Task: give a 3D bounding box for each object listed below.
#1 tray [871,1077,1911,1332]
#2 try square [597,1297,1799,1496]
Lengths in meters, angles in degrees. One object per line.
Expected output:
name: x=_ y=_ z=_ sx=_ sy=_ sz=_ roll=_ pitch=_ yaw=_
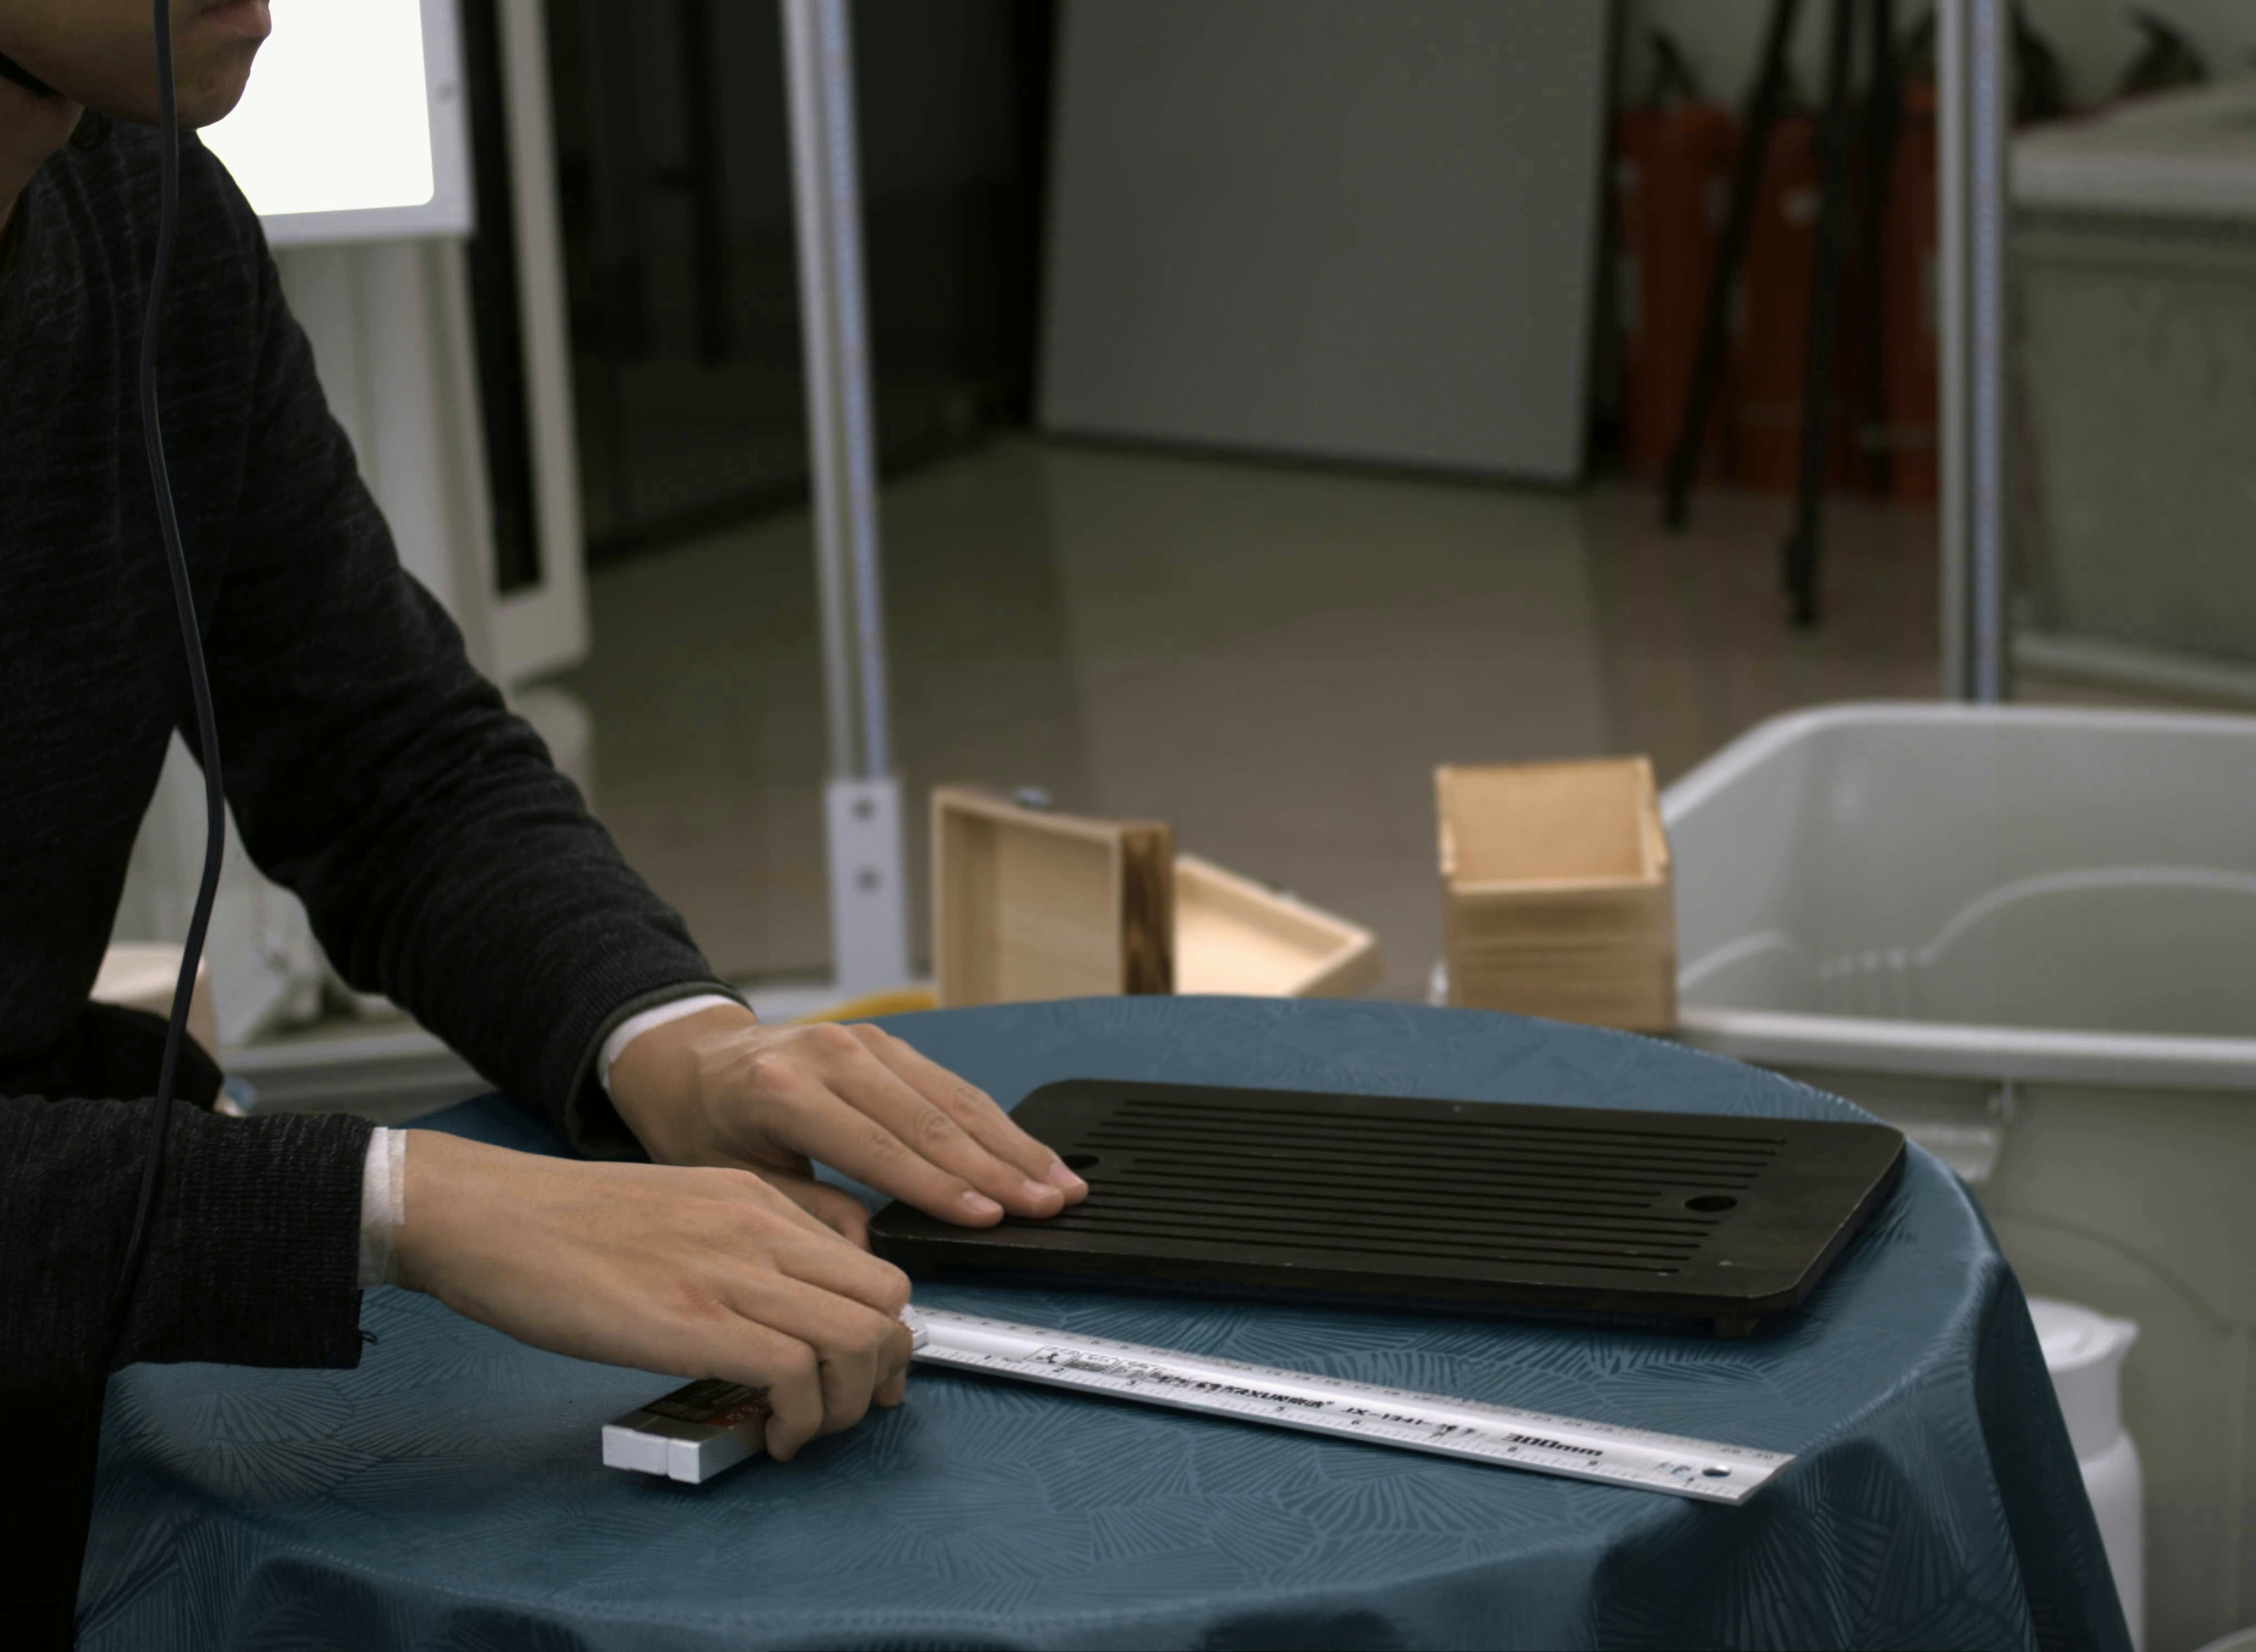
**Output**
tray: x=0.085 y=0.119 z=1.715 sx=0.306 sy=0.019 sz=0.168 roll=2 pitch=15 yaw=23
try square: x=0.017 y=0.176 z=1.518 sx=0.314 sy=0.016 sz=0.150 roll=5 pitch=16 yaw=32
